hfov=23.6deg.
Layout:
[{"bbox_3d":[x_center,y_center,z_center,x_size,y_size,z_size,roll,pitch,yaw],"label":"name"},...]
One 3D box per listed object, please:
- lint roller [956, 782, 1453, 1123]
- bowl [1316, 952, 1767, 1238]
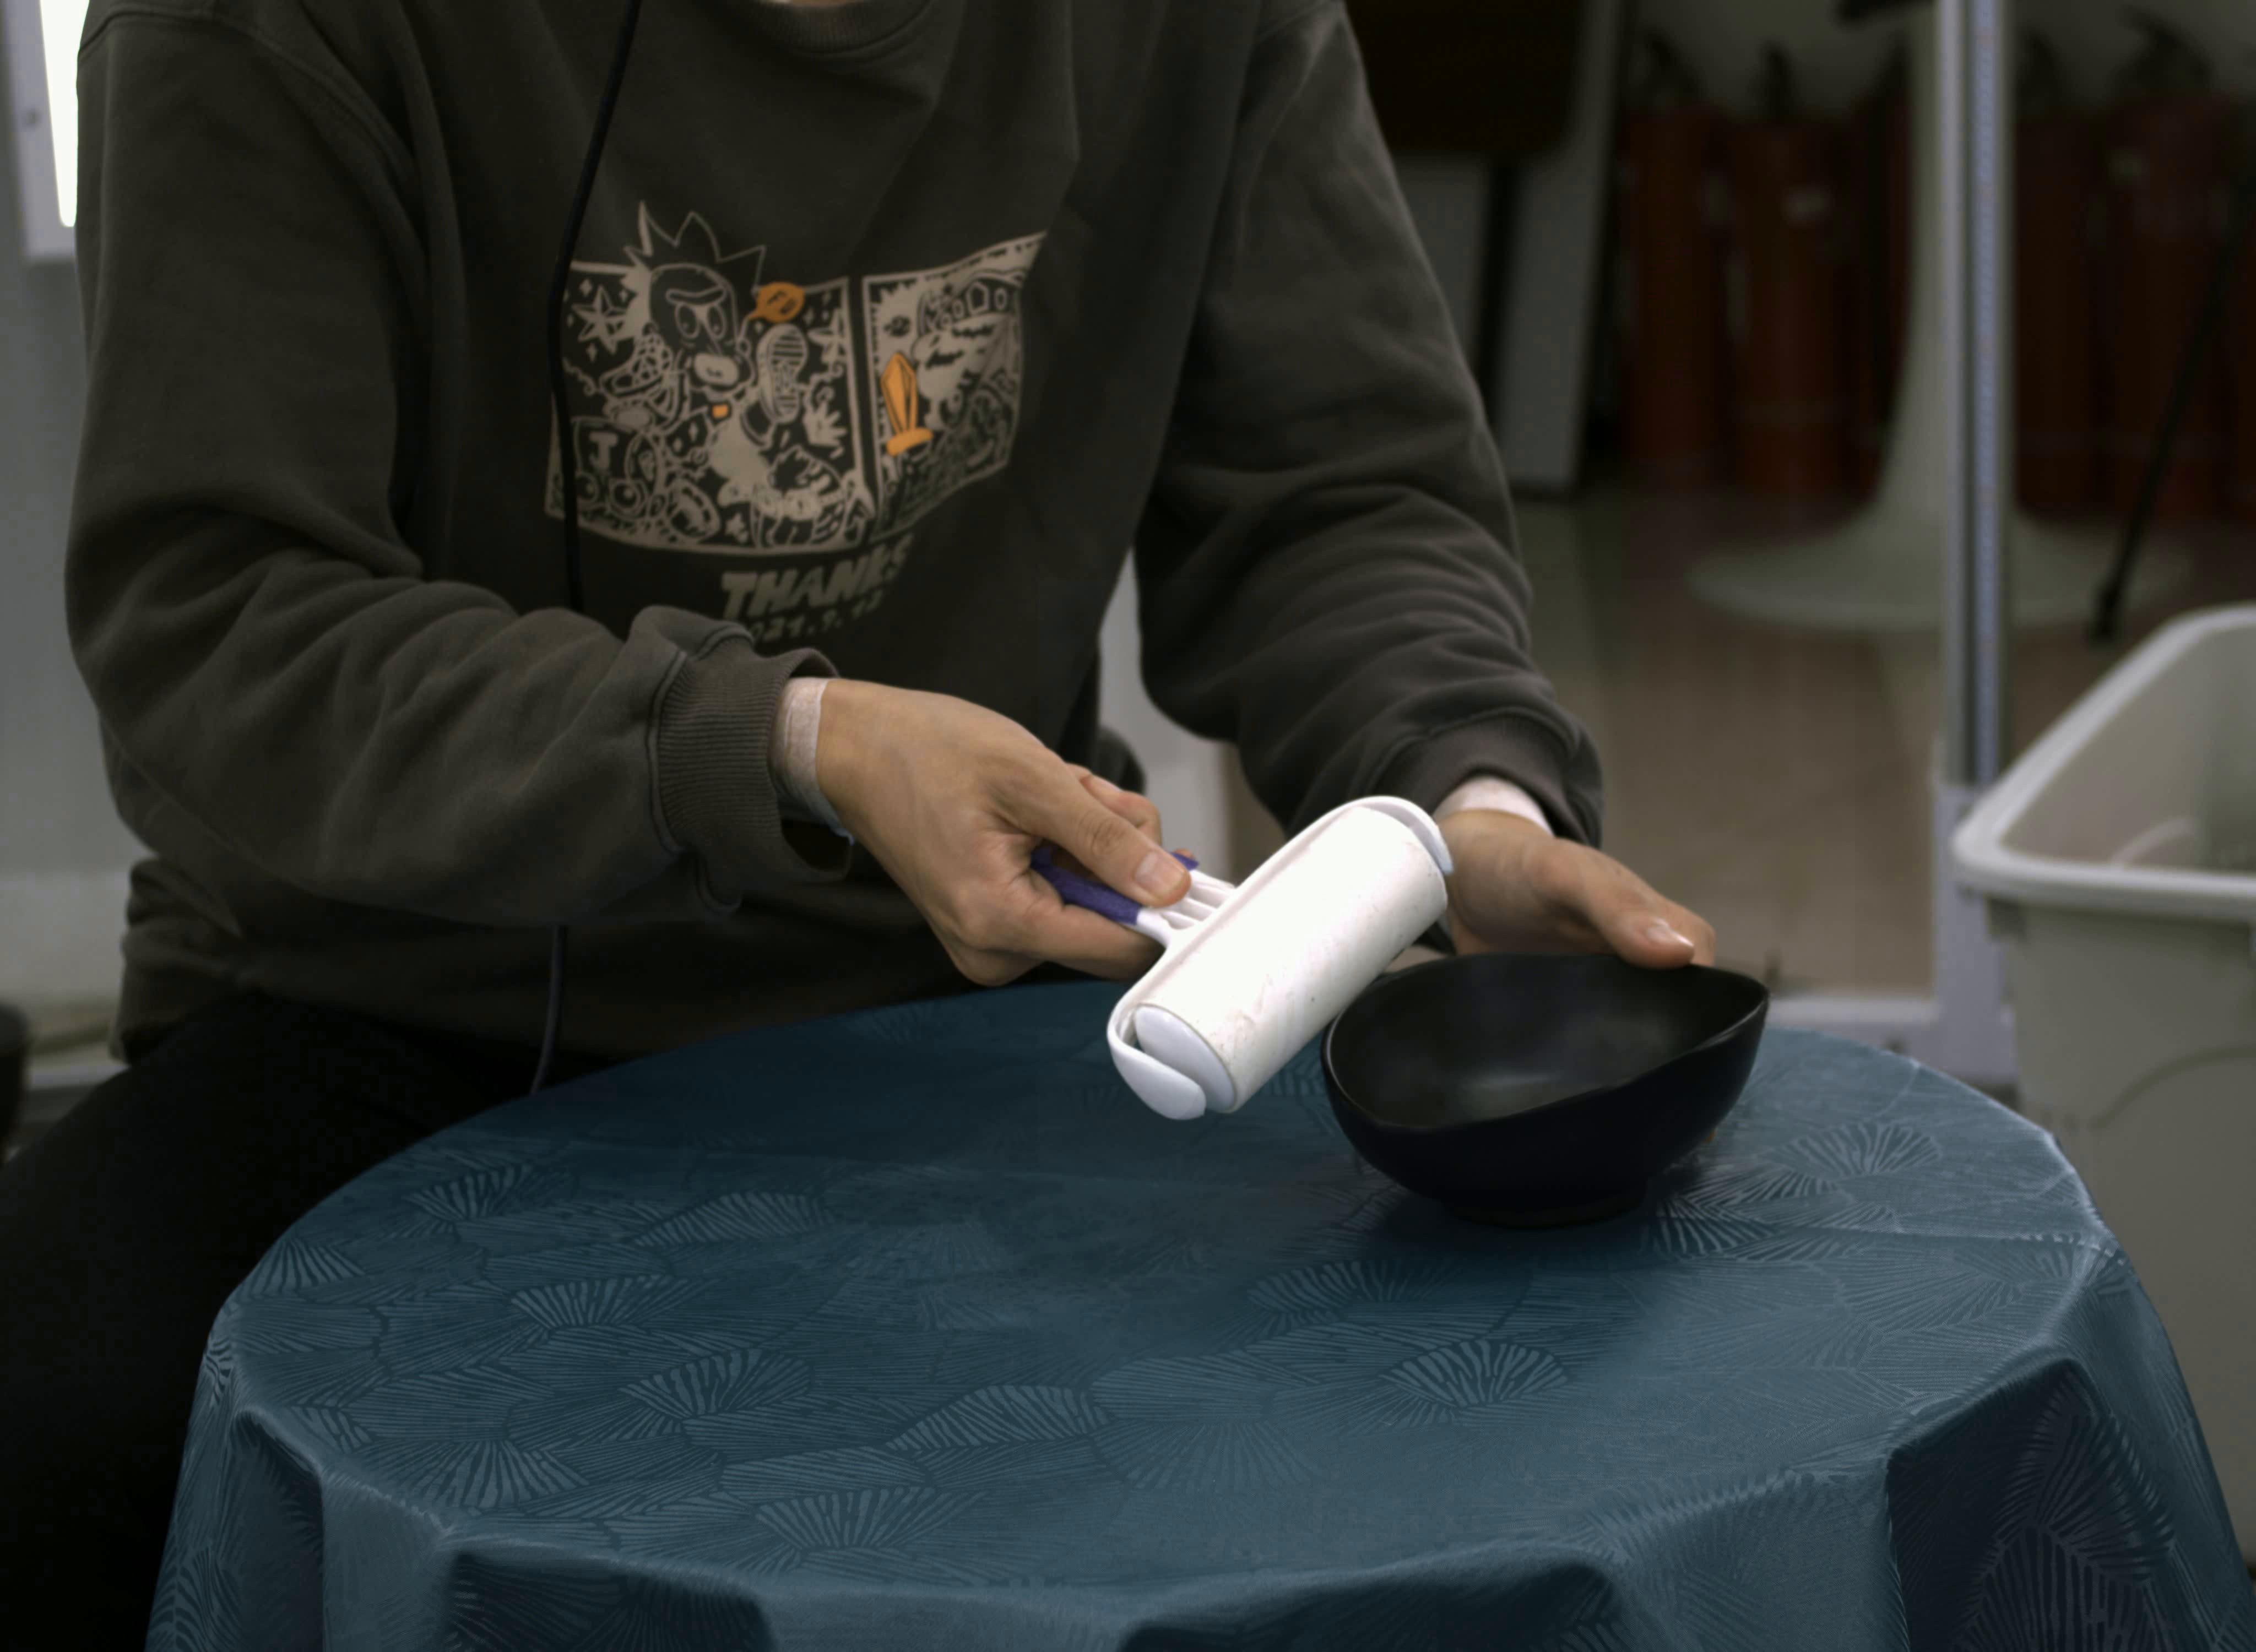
[{"bbox_3d":[0.007,0.015,1.737,0.132,0.050,0.182,-41,50,-21],"label":"lint roller"},{"bbox_3d":[0.135,0.091,1.729,0.138,0.067,0.167,4,17,34],"label":"bowl"}]
